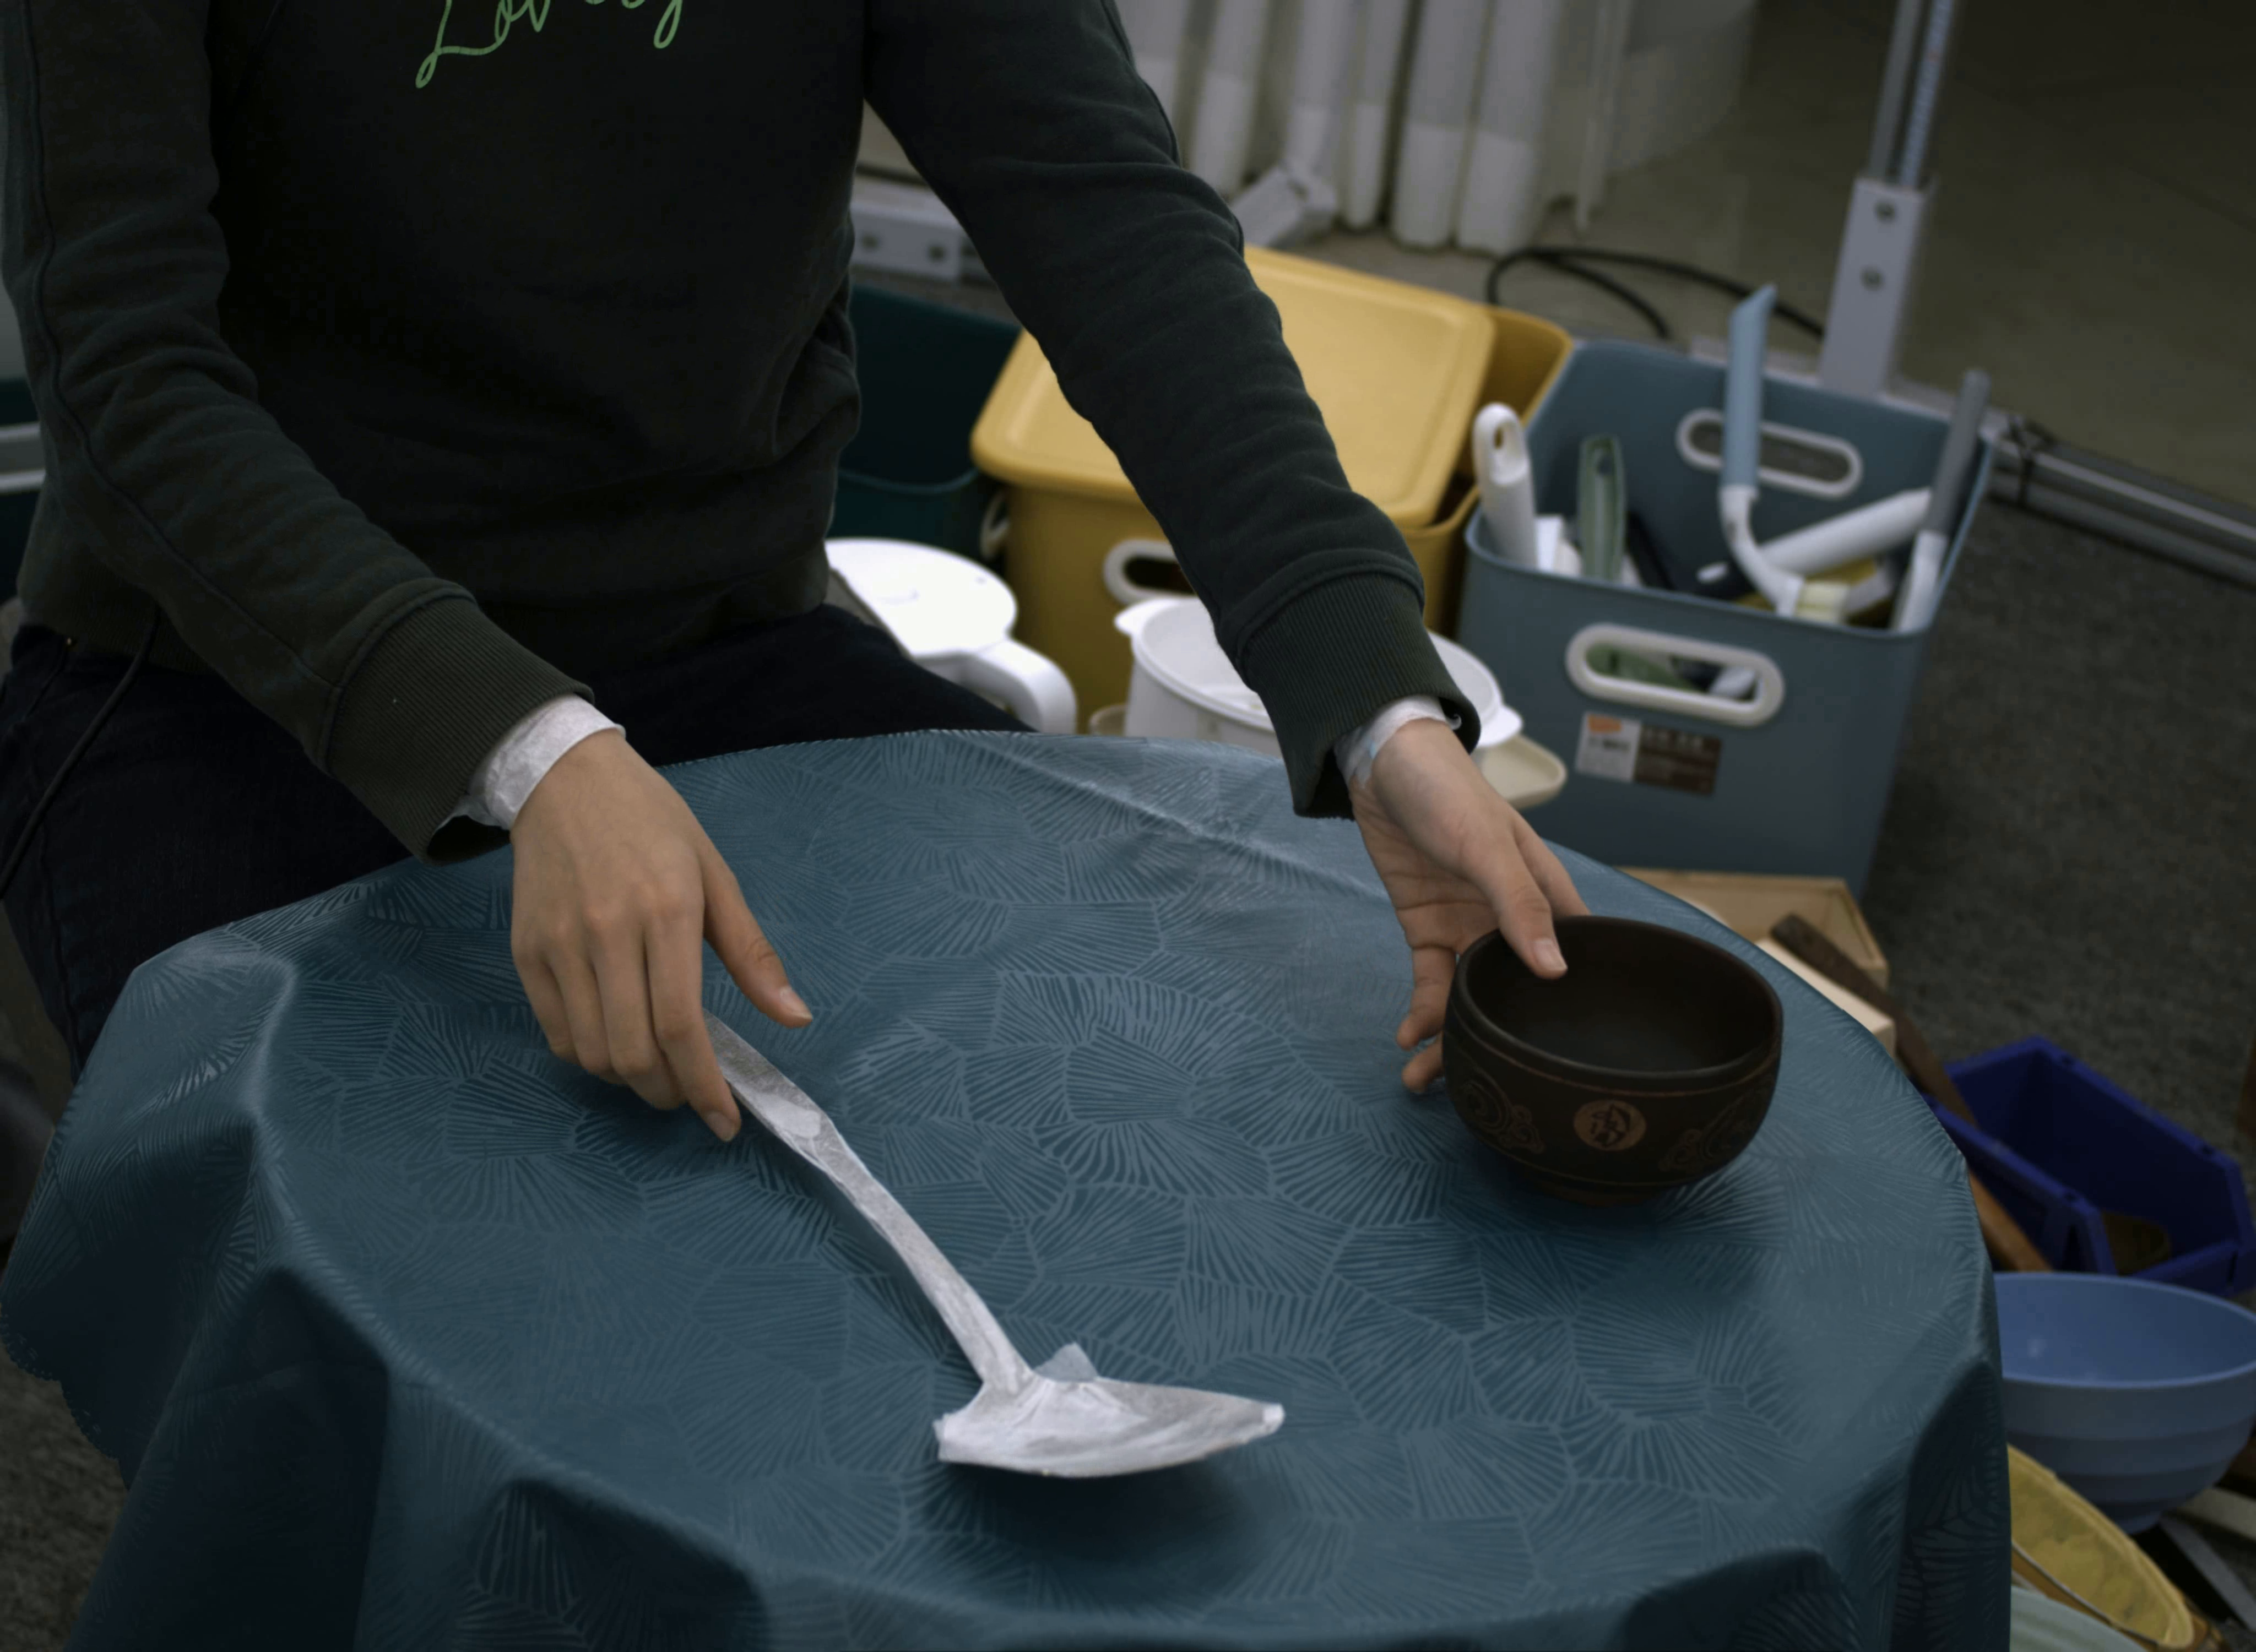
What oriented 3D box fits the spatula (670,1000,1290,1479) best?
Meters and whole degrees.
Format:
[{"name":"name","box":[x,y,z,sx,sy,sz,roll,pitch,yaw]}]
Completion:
[{"name":"spatula","box":[-0.073,0.126,1.736,0.098,0.044,0.368,-11,32,-27]}]

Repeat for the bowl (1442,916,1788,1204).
[{"name":"bowl","box":[0.165,0.087,1.832,0.117,0.069,0.118,5,24,-3]}]
